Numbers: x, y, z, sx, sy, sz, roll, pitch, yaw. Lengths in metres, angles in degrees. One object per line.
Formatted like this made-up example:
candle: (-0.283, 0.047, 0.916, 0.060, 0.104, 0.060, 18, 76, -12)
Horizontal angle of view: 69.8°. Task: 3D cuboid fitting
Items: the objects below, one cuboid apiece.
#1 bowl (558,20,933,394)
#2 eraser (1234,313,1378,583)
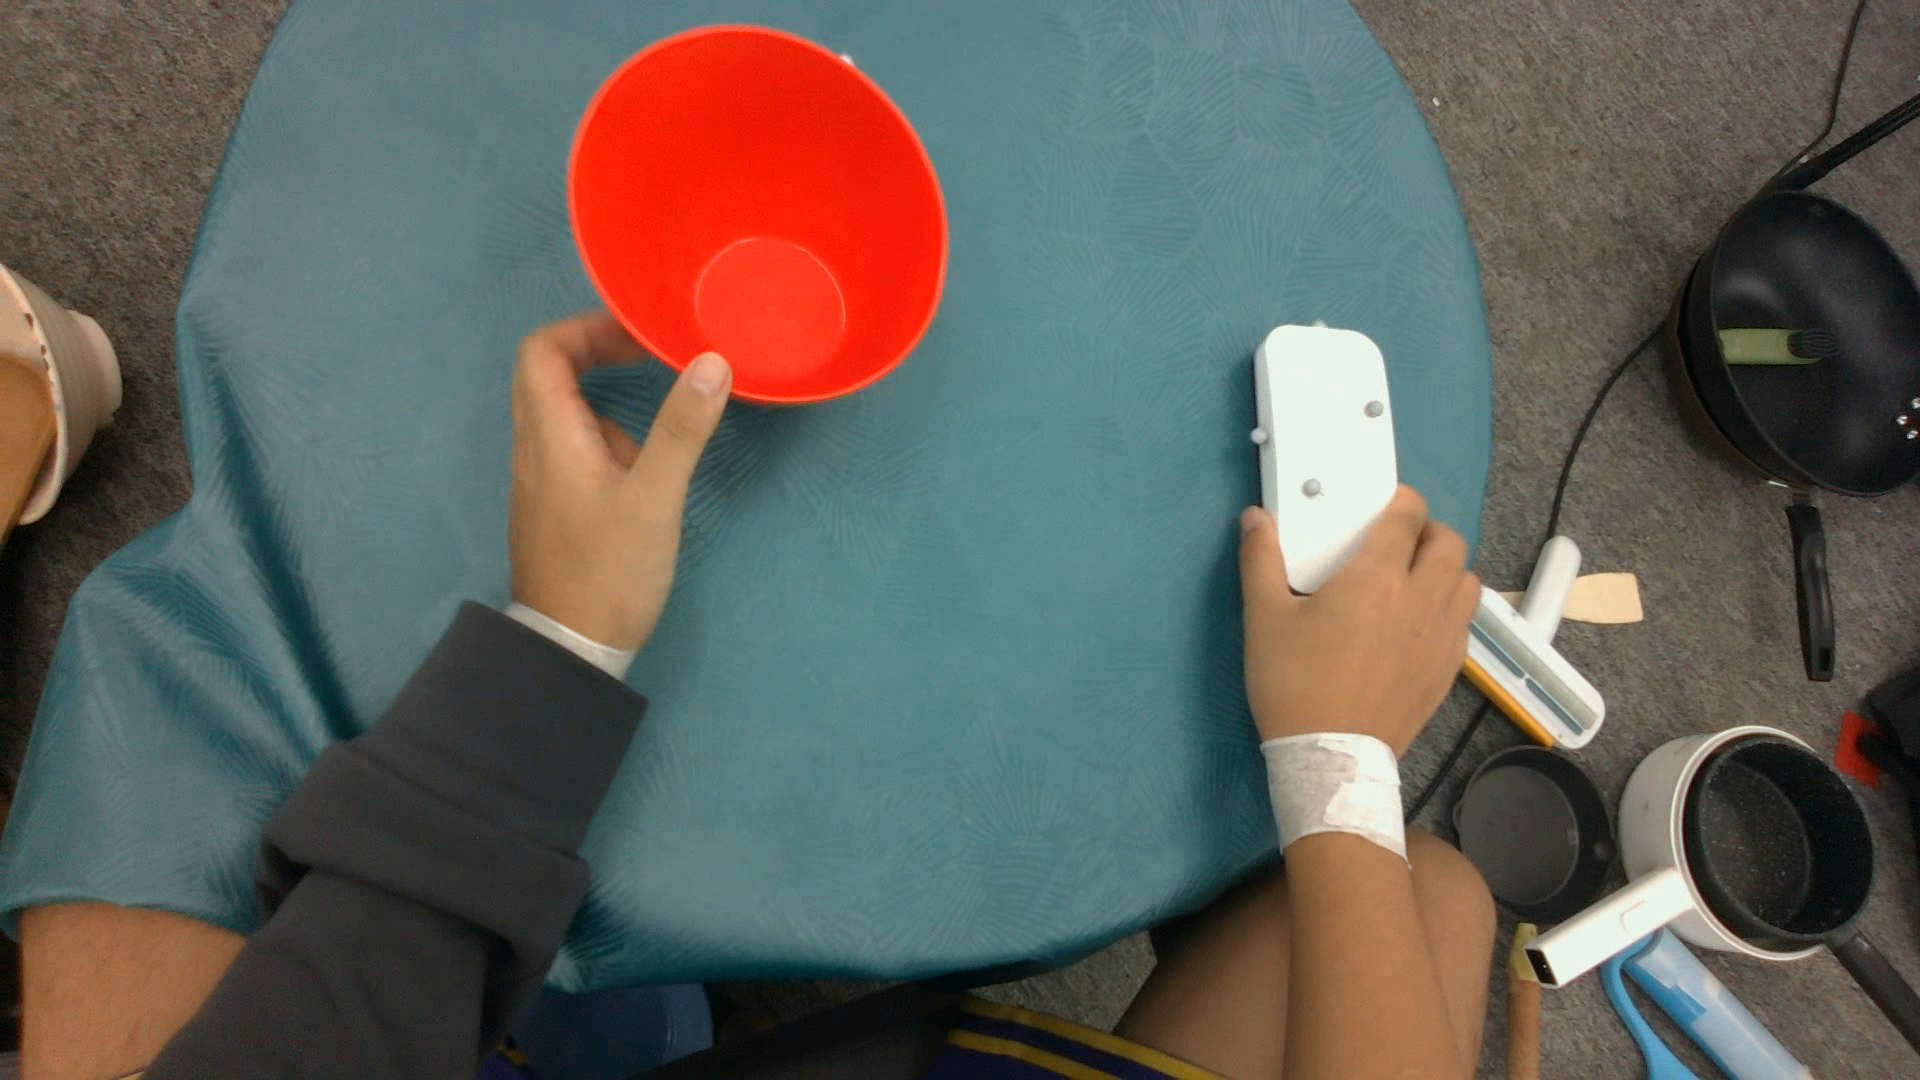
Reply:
bowl: (-0.089, -0.123, 0.572, 0.148, 0.104, 0.148, 3, 78, -15)
eraser: (0.163, -0.044, 0.658, 0.063, 0.034, 0.131, 4, 75, -14)
